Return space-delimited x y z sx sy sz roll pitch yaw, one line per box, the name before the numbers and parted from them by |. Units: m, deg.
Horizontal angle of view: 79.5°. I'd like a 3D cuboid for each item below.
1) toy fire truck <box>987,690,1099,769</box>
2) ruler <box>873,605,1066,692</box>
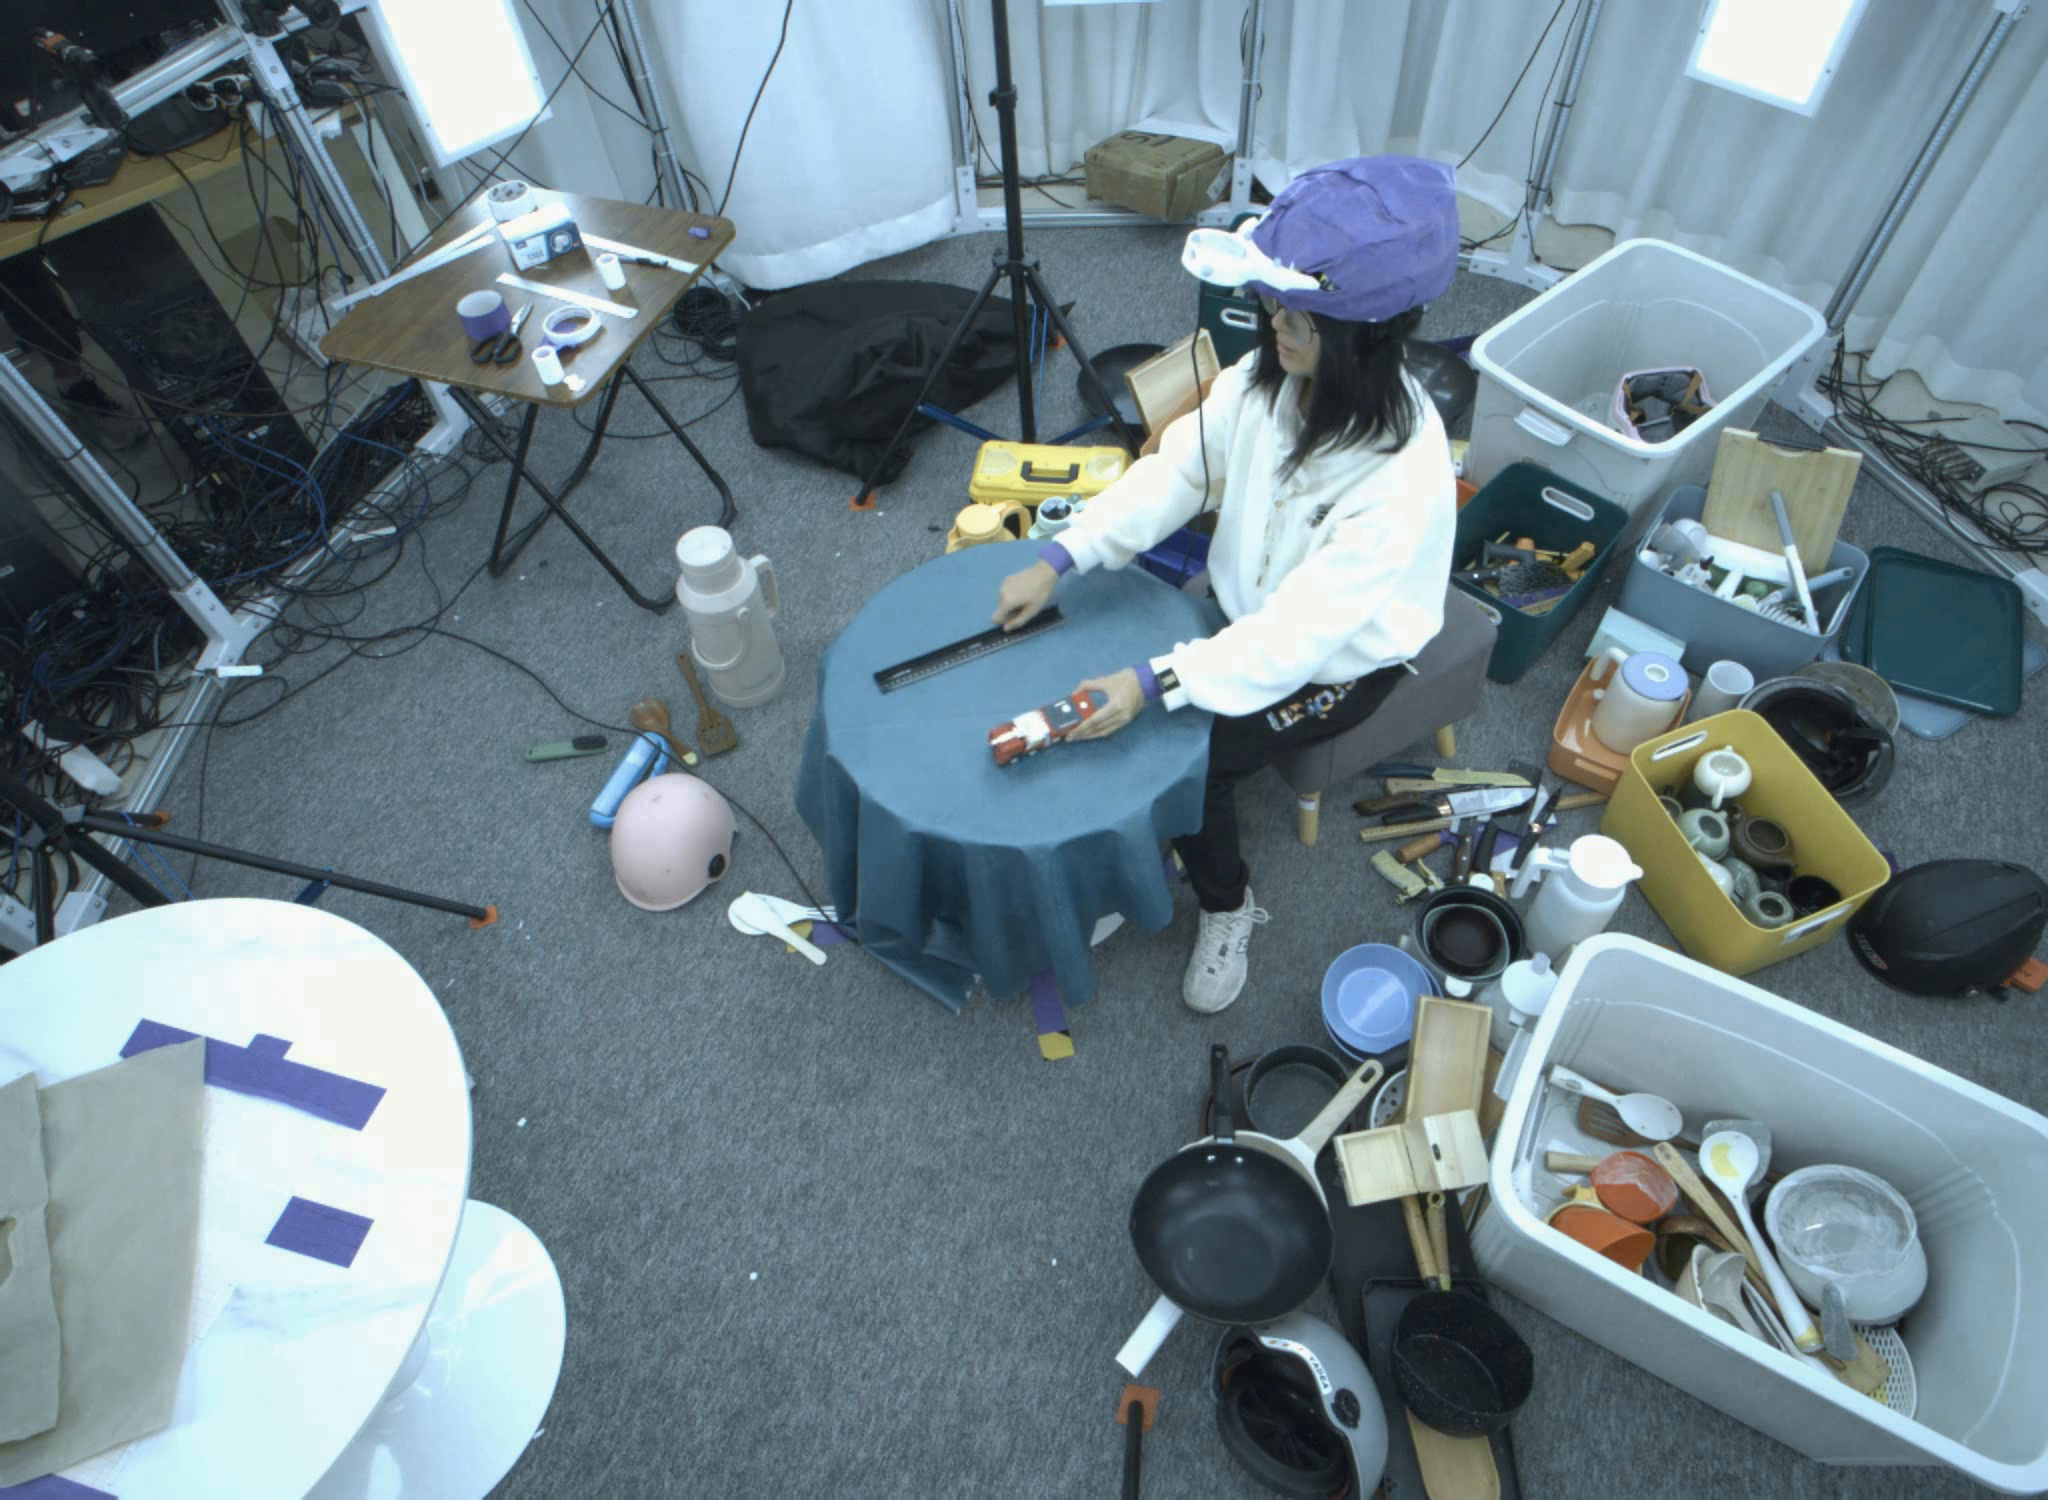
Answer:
toy fire truck | 0.027 -0.029 1.768 0.169 0.070 0.053 -23 71 -15
ruler | -0.083 -0.159 1.892 0.315 0.017 0.038 -21 58 -13
